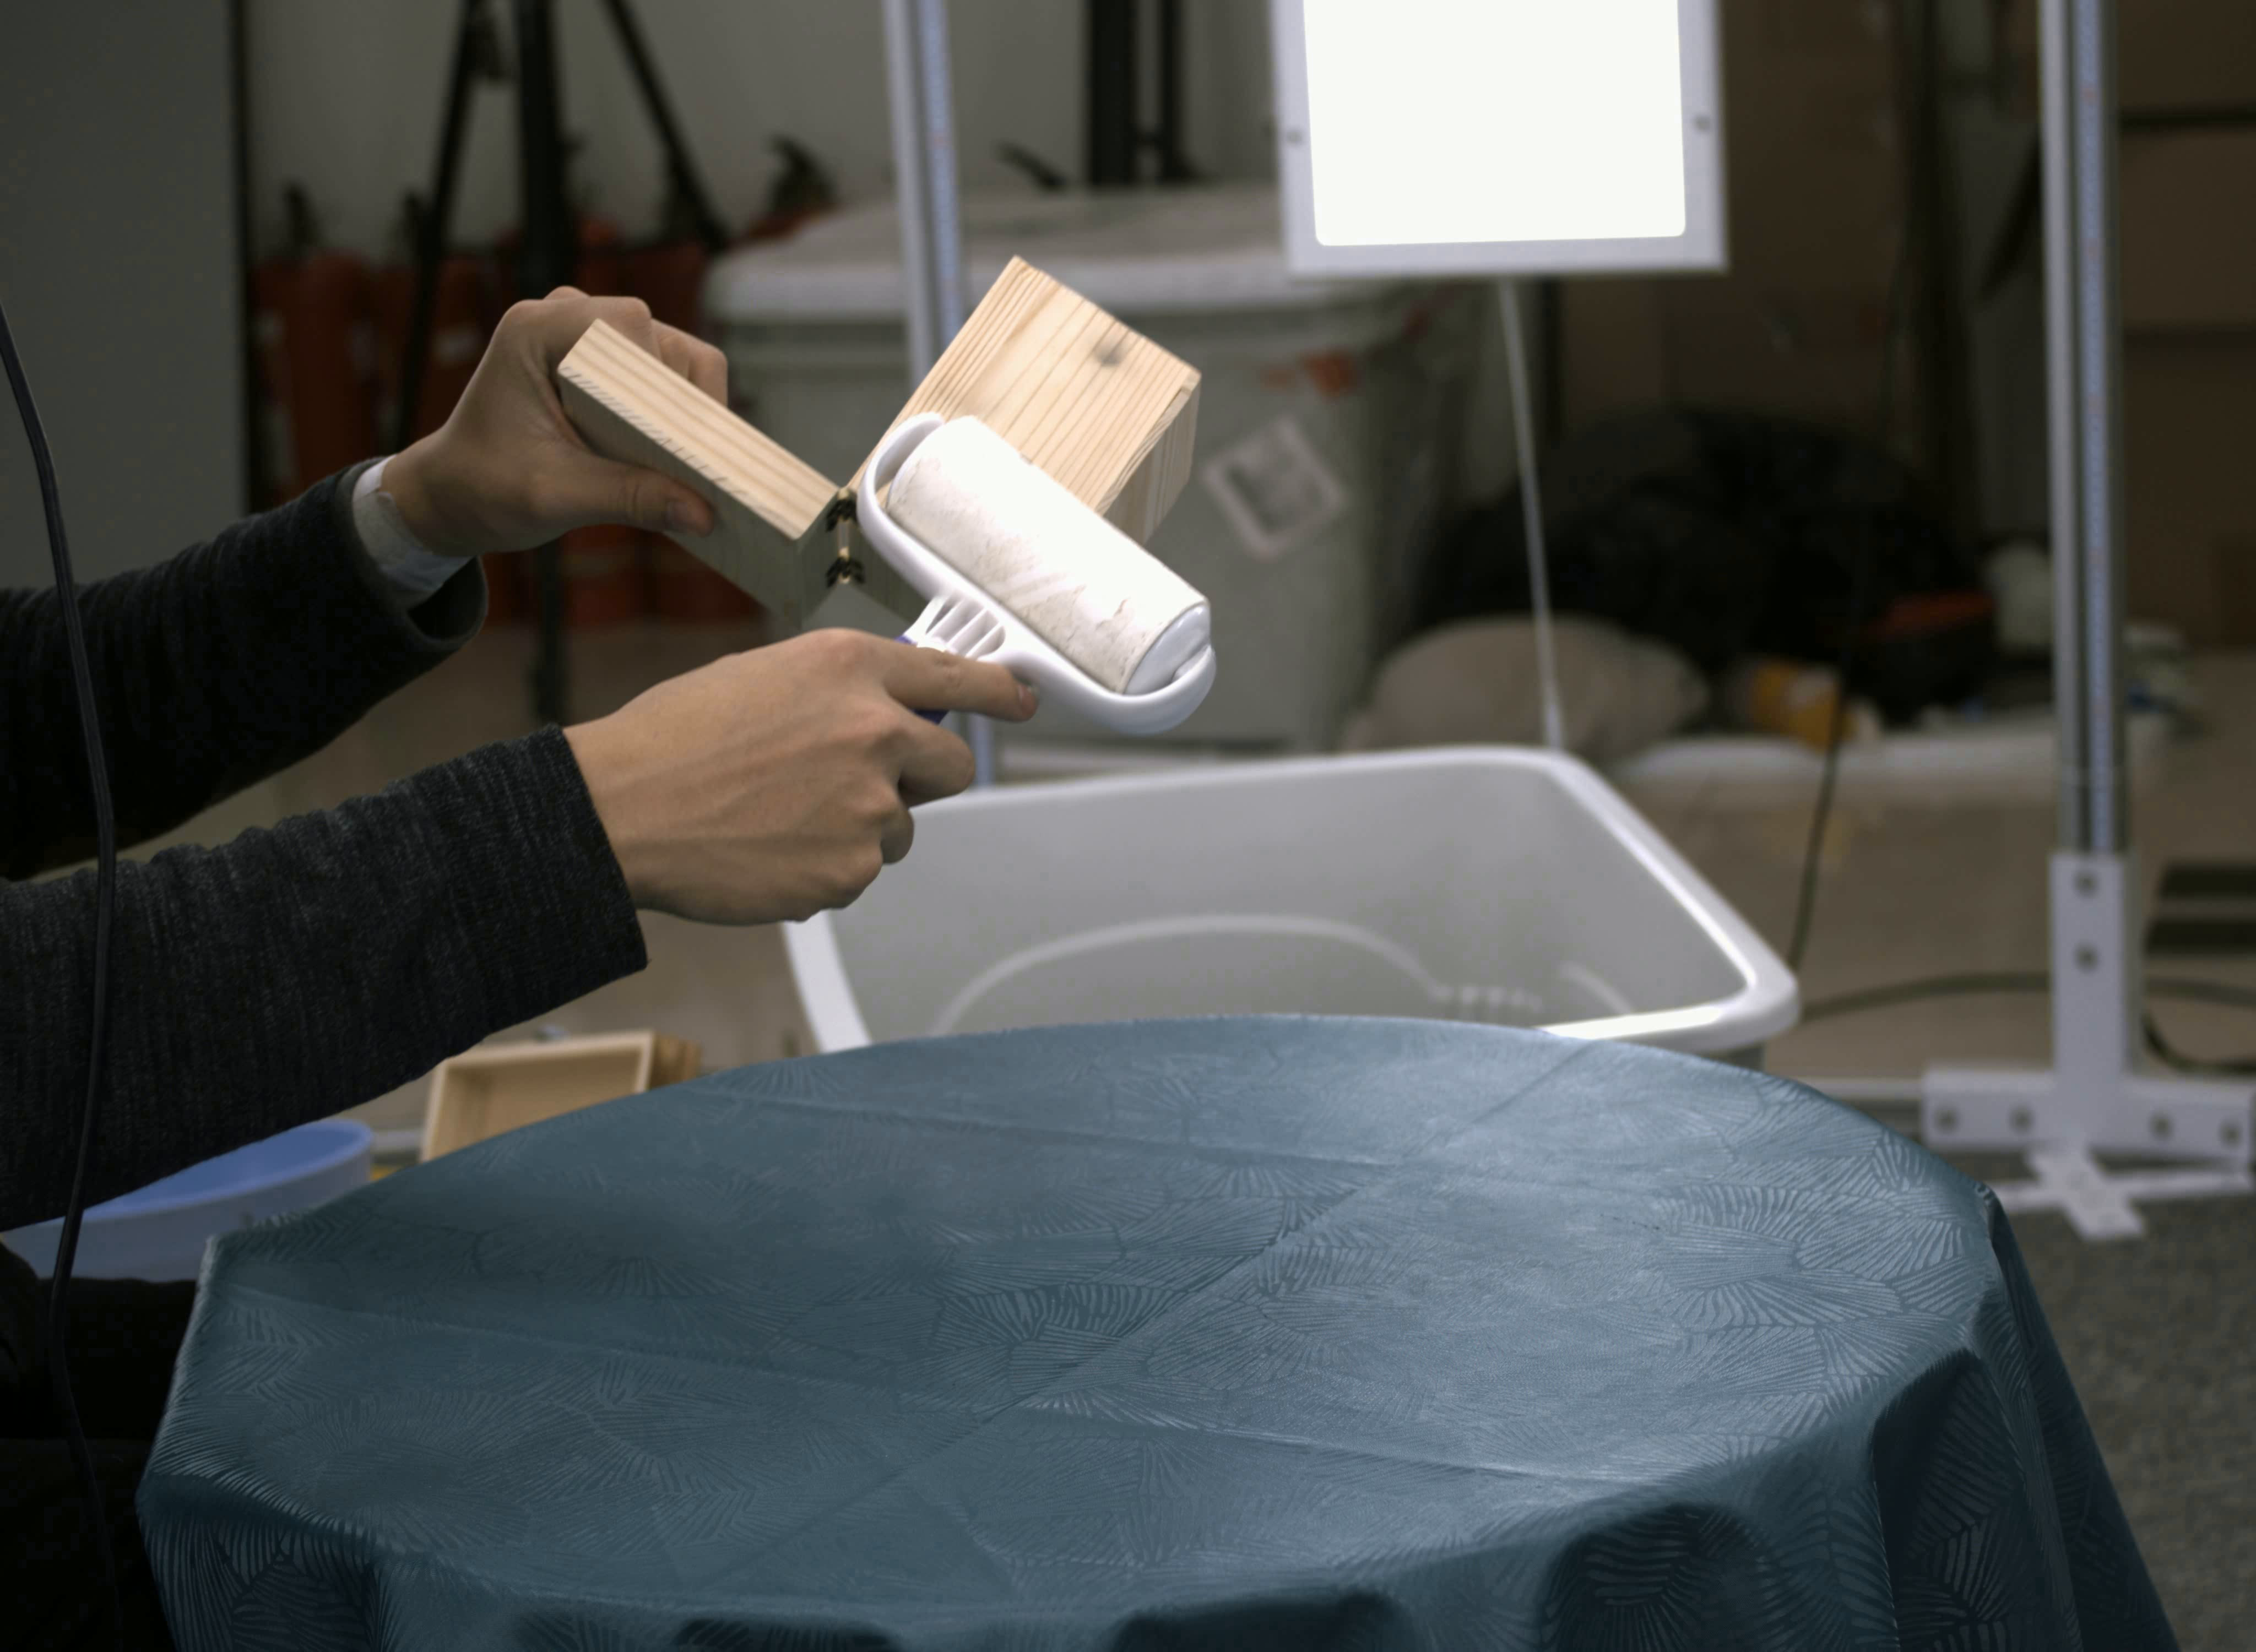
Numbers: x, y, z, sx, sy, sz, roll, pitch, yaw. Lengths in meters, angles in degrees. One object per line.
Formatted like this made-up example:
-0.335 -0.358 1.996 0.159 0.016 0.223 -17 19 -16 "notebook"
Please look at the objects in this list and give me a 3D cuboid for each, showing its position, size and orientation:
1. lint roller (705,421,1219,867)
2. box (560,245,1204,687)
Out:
-0.068 -0.049 1.712 0.134 0.051 0.177 40 50 16 "lint roller"
-0.083 -0.142 1.887 0.185 0.133 0.103 32 -14 9 "box"
